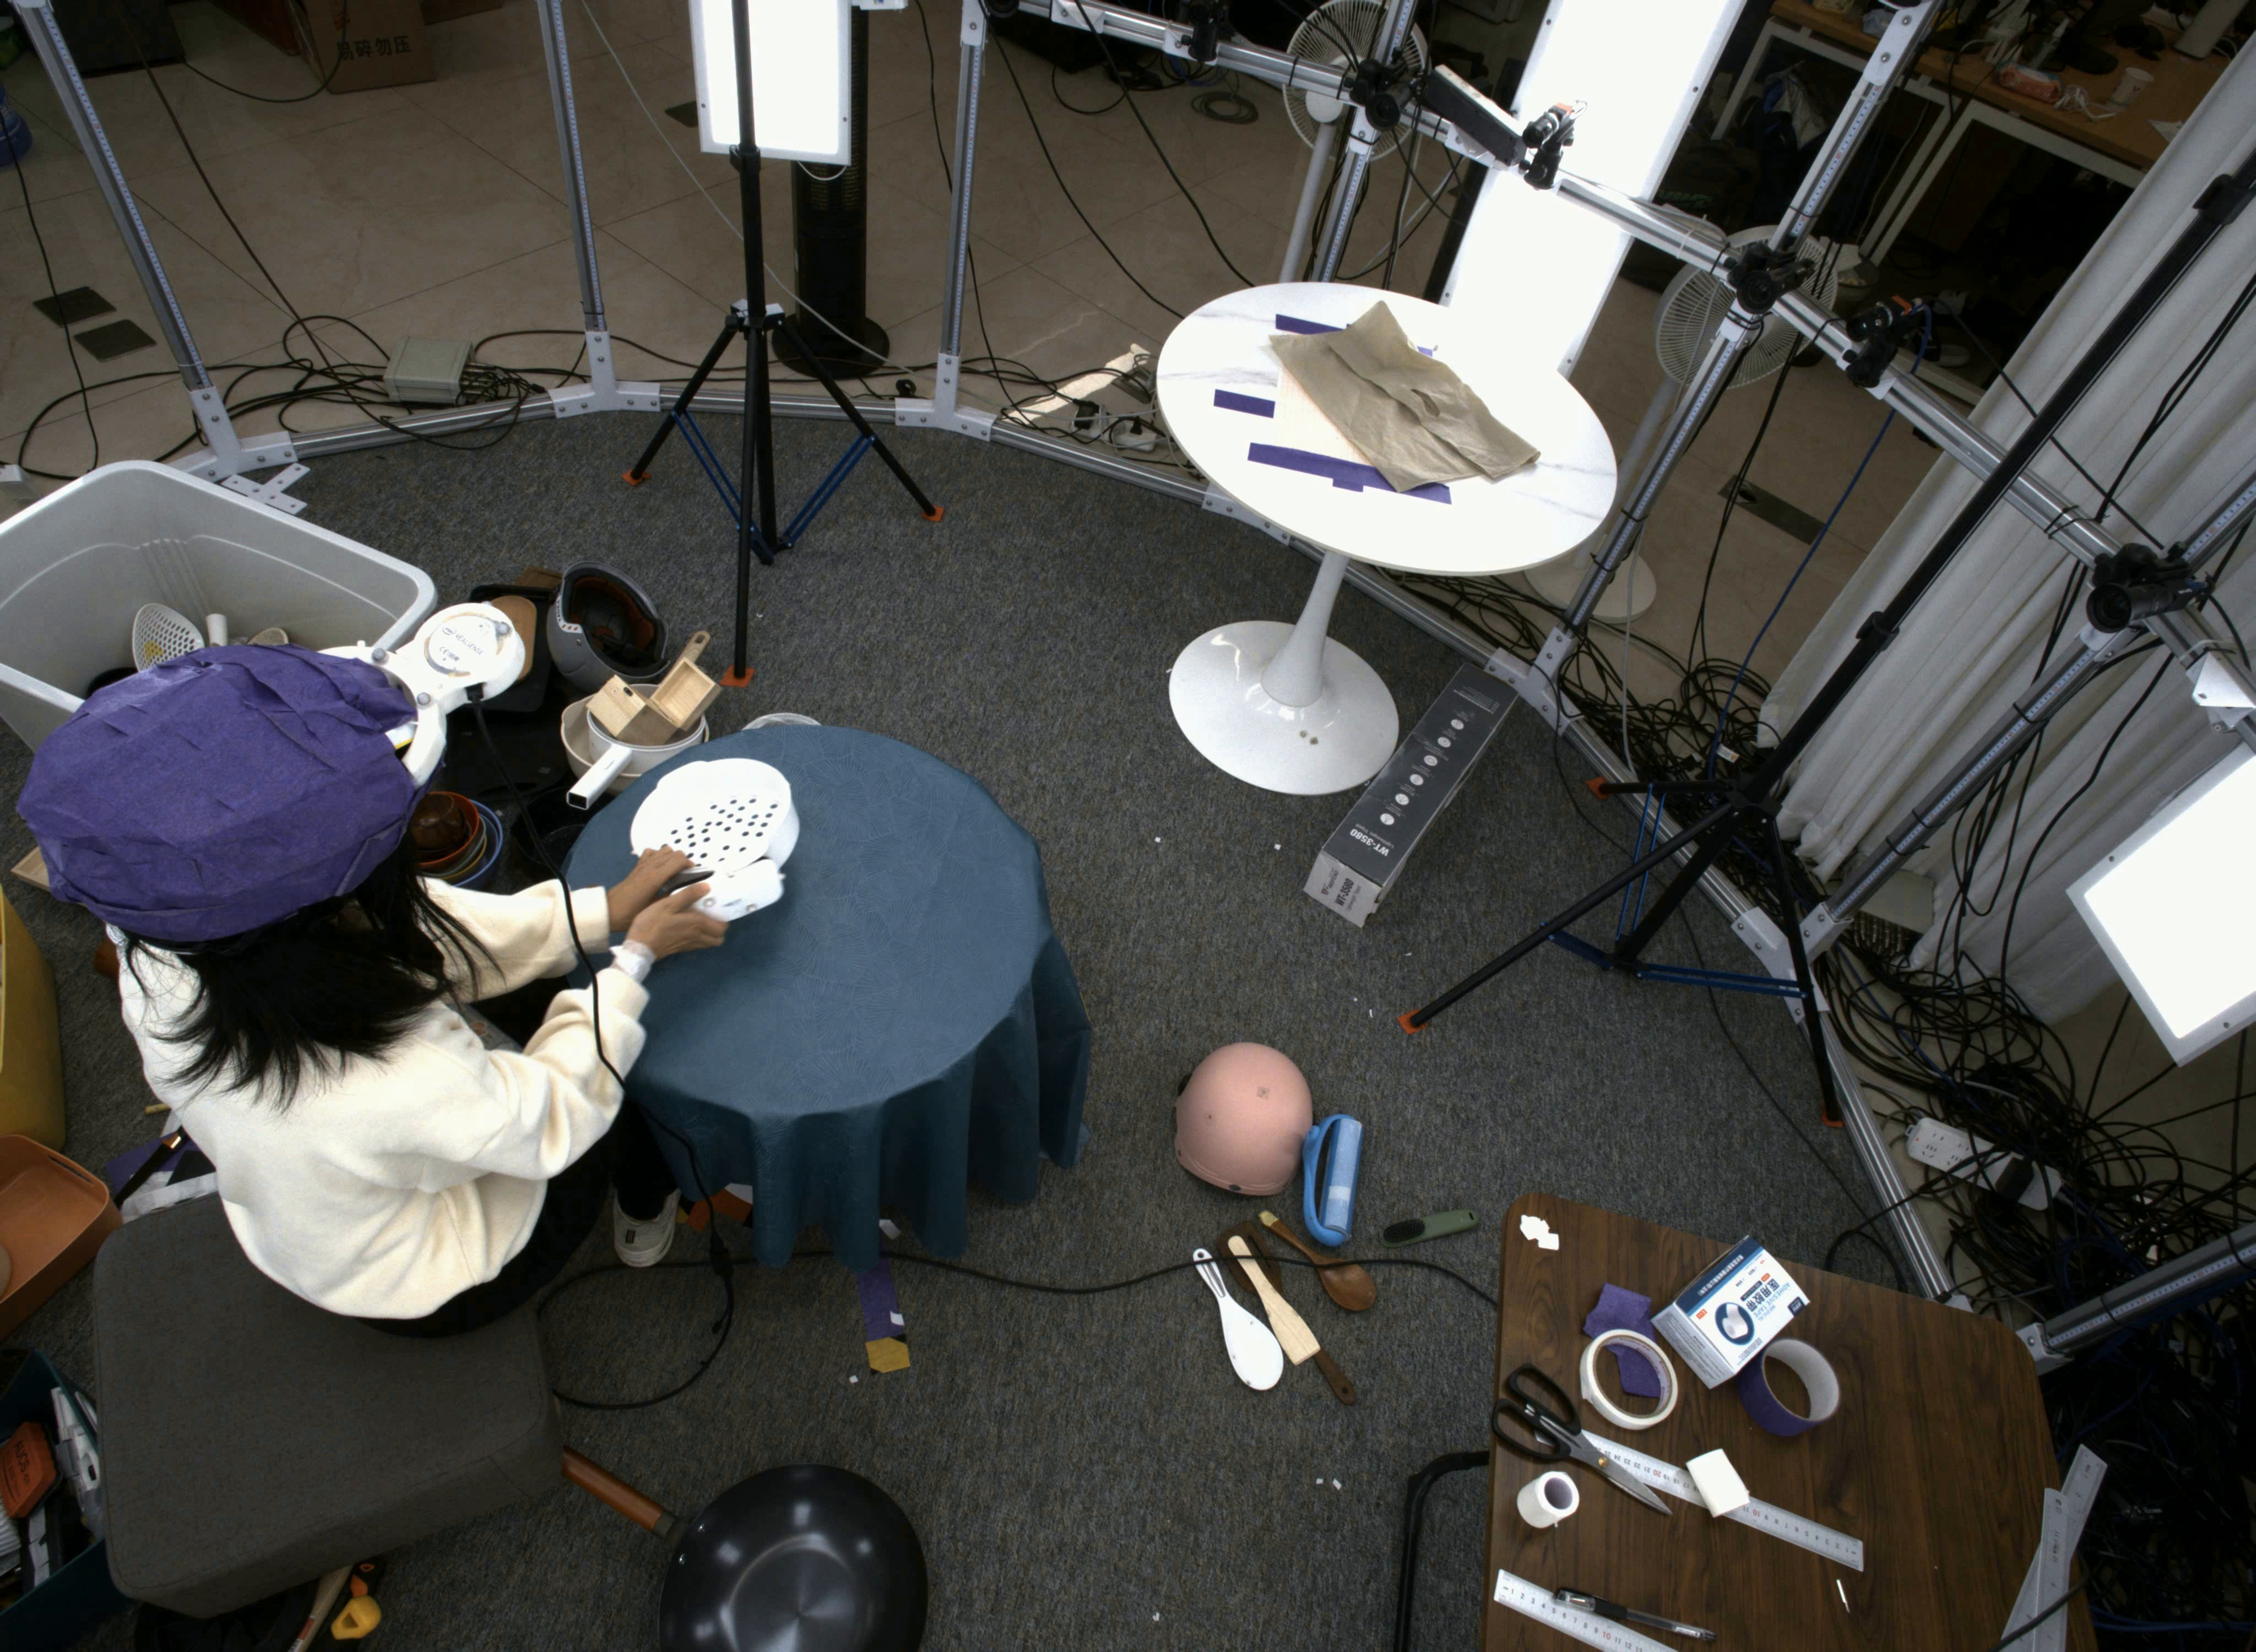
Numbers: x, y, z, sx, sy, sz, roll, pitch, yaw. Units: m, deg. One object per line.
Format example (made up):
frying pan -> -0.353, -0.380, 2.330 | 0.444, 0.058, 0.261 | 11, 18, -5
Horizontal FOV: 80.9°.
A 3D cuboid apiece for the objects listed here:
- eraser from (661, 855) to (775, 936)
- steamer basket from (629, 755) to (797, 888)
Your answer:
eraser -> -0.481, 0.079, 1.514 | 0.132, 0.065, 0.033 | -22, 49, -27
steamer basket -> -0.512, -0.003, 1.596 | 0.202, 0.072, 0.222 | -29, 43, -23
